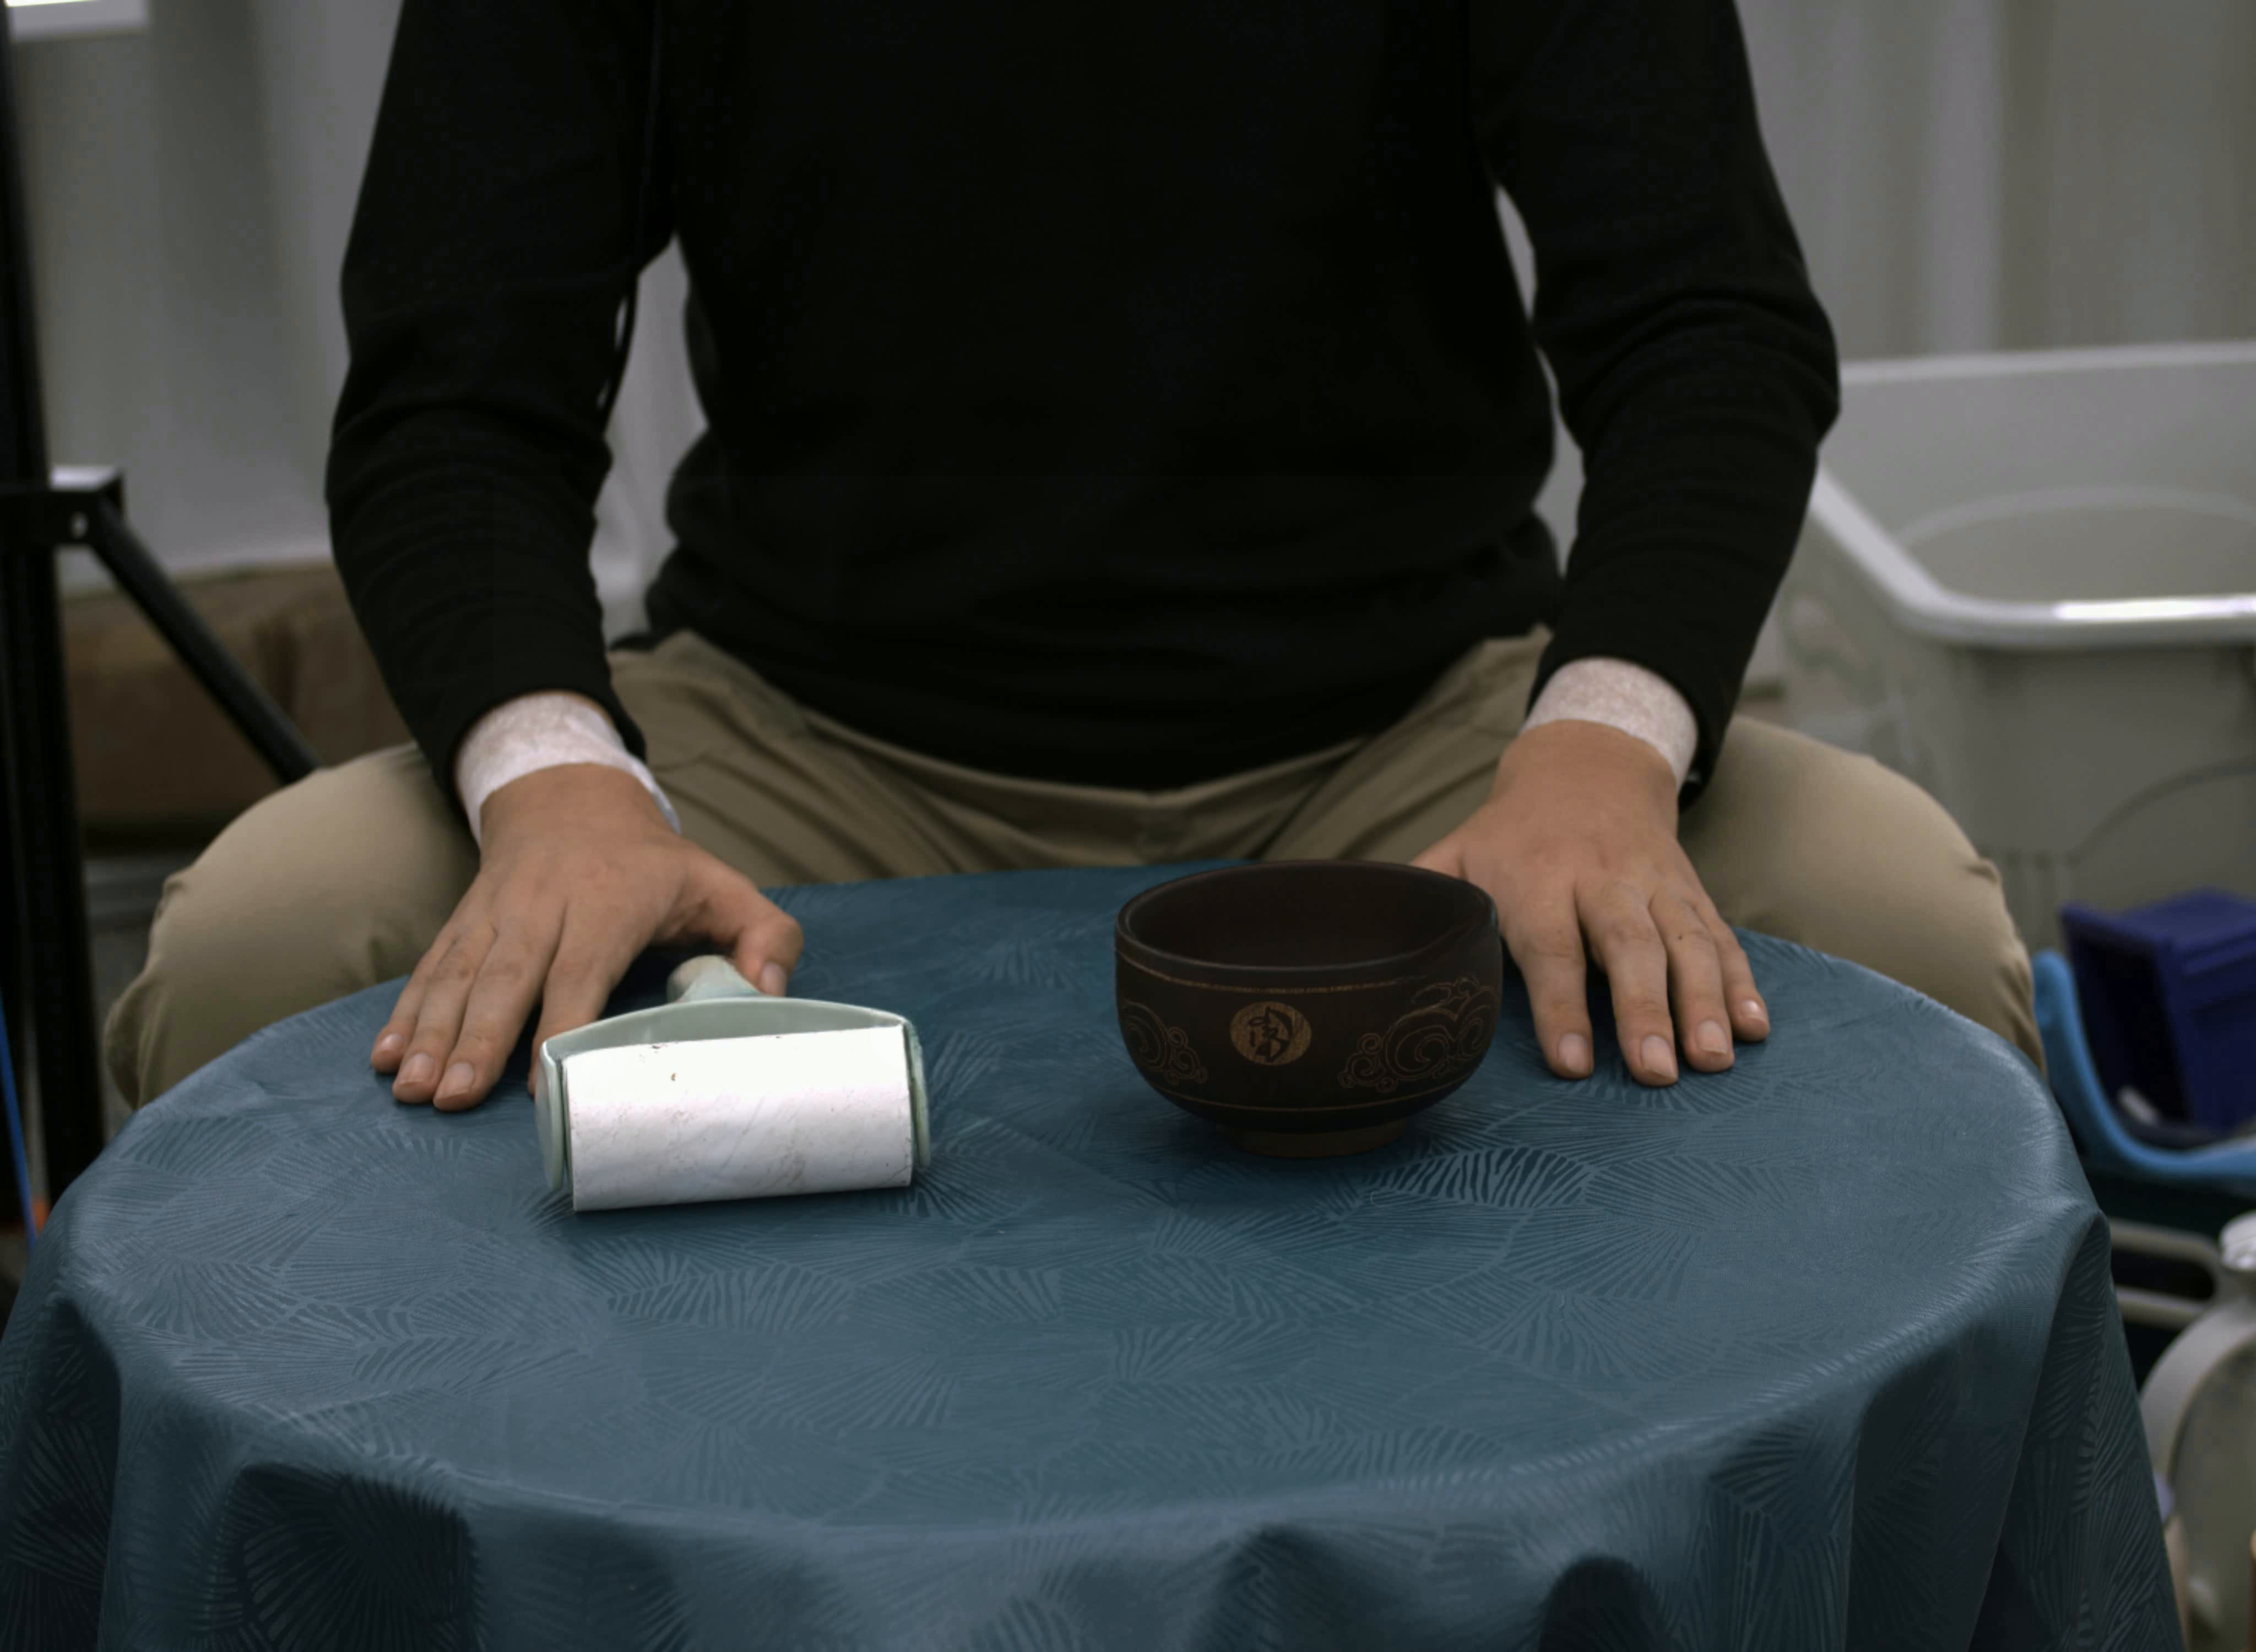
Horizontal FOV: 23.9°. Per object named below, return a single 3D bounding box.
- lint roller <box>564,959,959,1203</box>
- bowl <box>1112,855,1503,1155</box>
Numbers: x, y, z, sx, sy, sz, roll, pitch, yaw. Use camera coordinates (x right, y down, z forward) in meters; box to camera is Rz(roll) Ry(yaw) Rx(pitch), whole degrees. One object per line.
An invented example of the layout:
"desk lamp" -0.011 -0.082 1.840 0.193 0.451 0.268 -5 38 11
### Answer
"lint roller" -0.117 0.067 1.639 0.115 0.048 0.199 -5 14 -7
"bowl" 0.055 0.057 1.595 0.117 0.070 0.118 -3 15 -1
